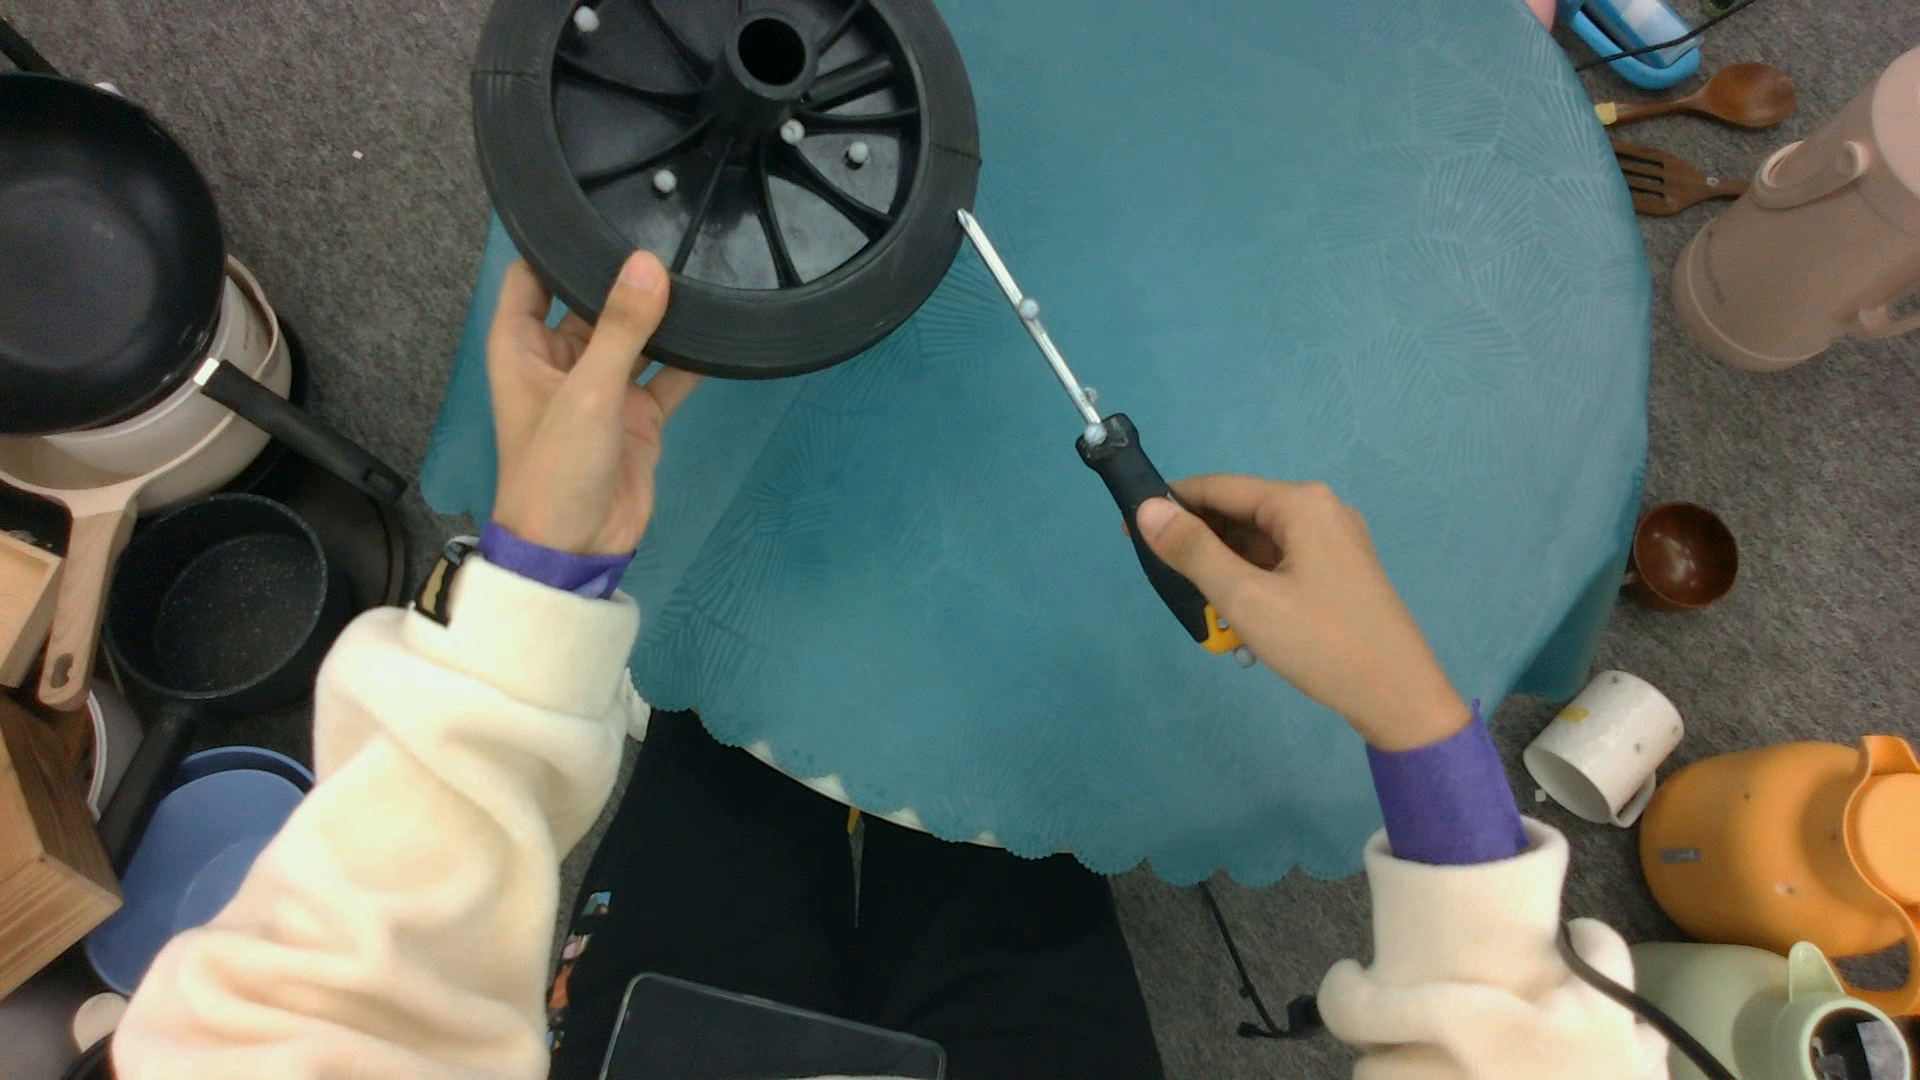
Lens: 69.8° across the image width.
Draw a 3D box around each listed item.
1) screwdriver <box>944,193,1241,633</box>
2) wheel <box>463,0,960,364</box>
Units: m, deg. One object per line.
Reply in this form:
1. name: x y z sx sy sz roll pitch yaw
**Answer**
1. screwdriver: 0.047 -0.052 0.518 0.031 0.031 0.196 -30 87 -11
2. wheel: -0.081 -0.163 0.504 0.187 0.079 0.190 40 70 -11
